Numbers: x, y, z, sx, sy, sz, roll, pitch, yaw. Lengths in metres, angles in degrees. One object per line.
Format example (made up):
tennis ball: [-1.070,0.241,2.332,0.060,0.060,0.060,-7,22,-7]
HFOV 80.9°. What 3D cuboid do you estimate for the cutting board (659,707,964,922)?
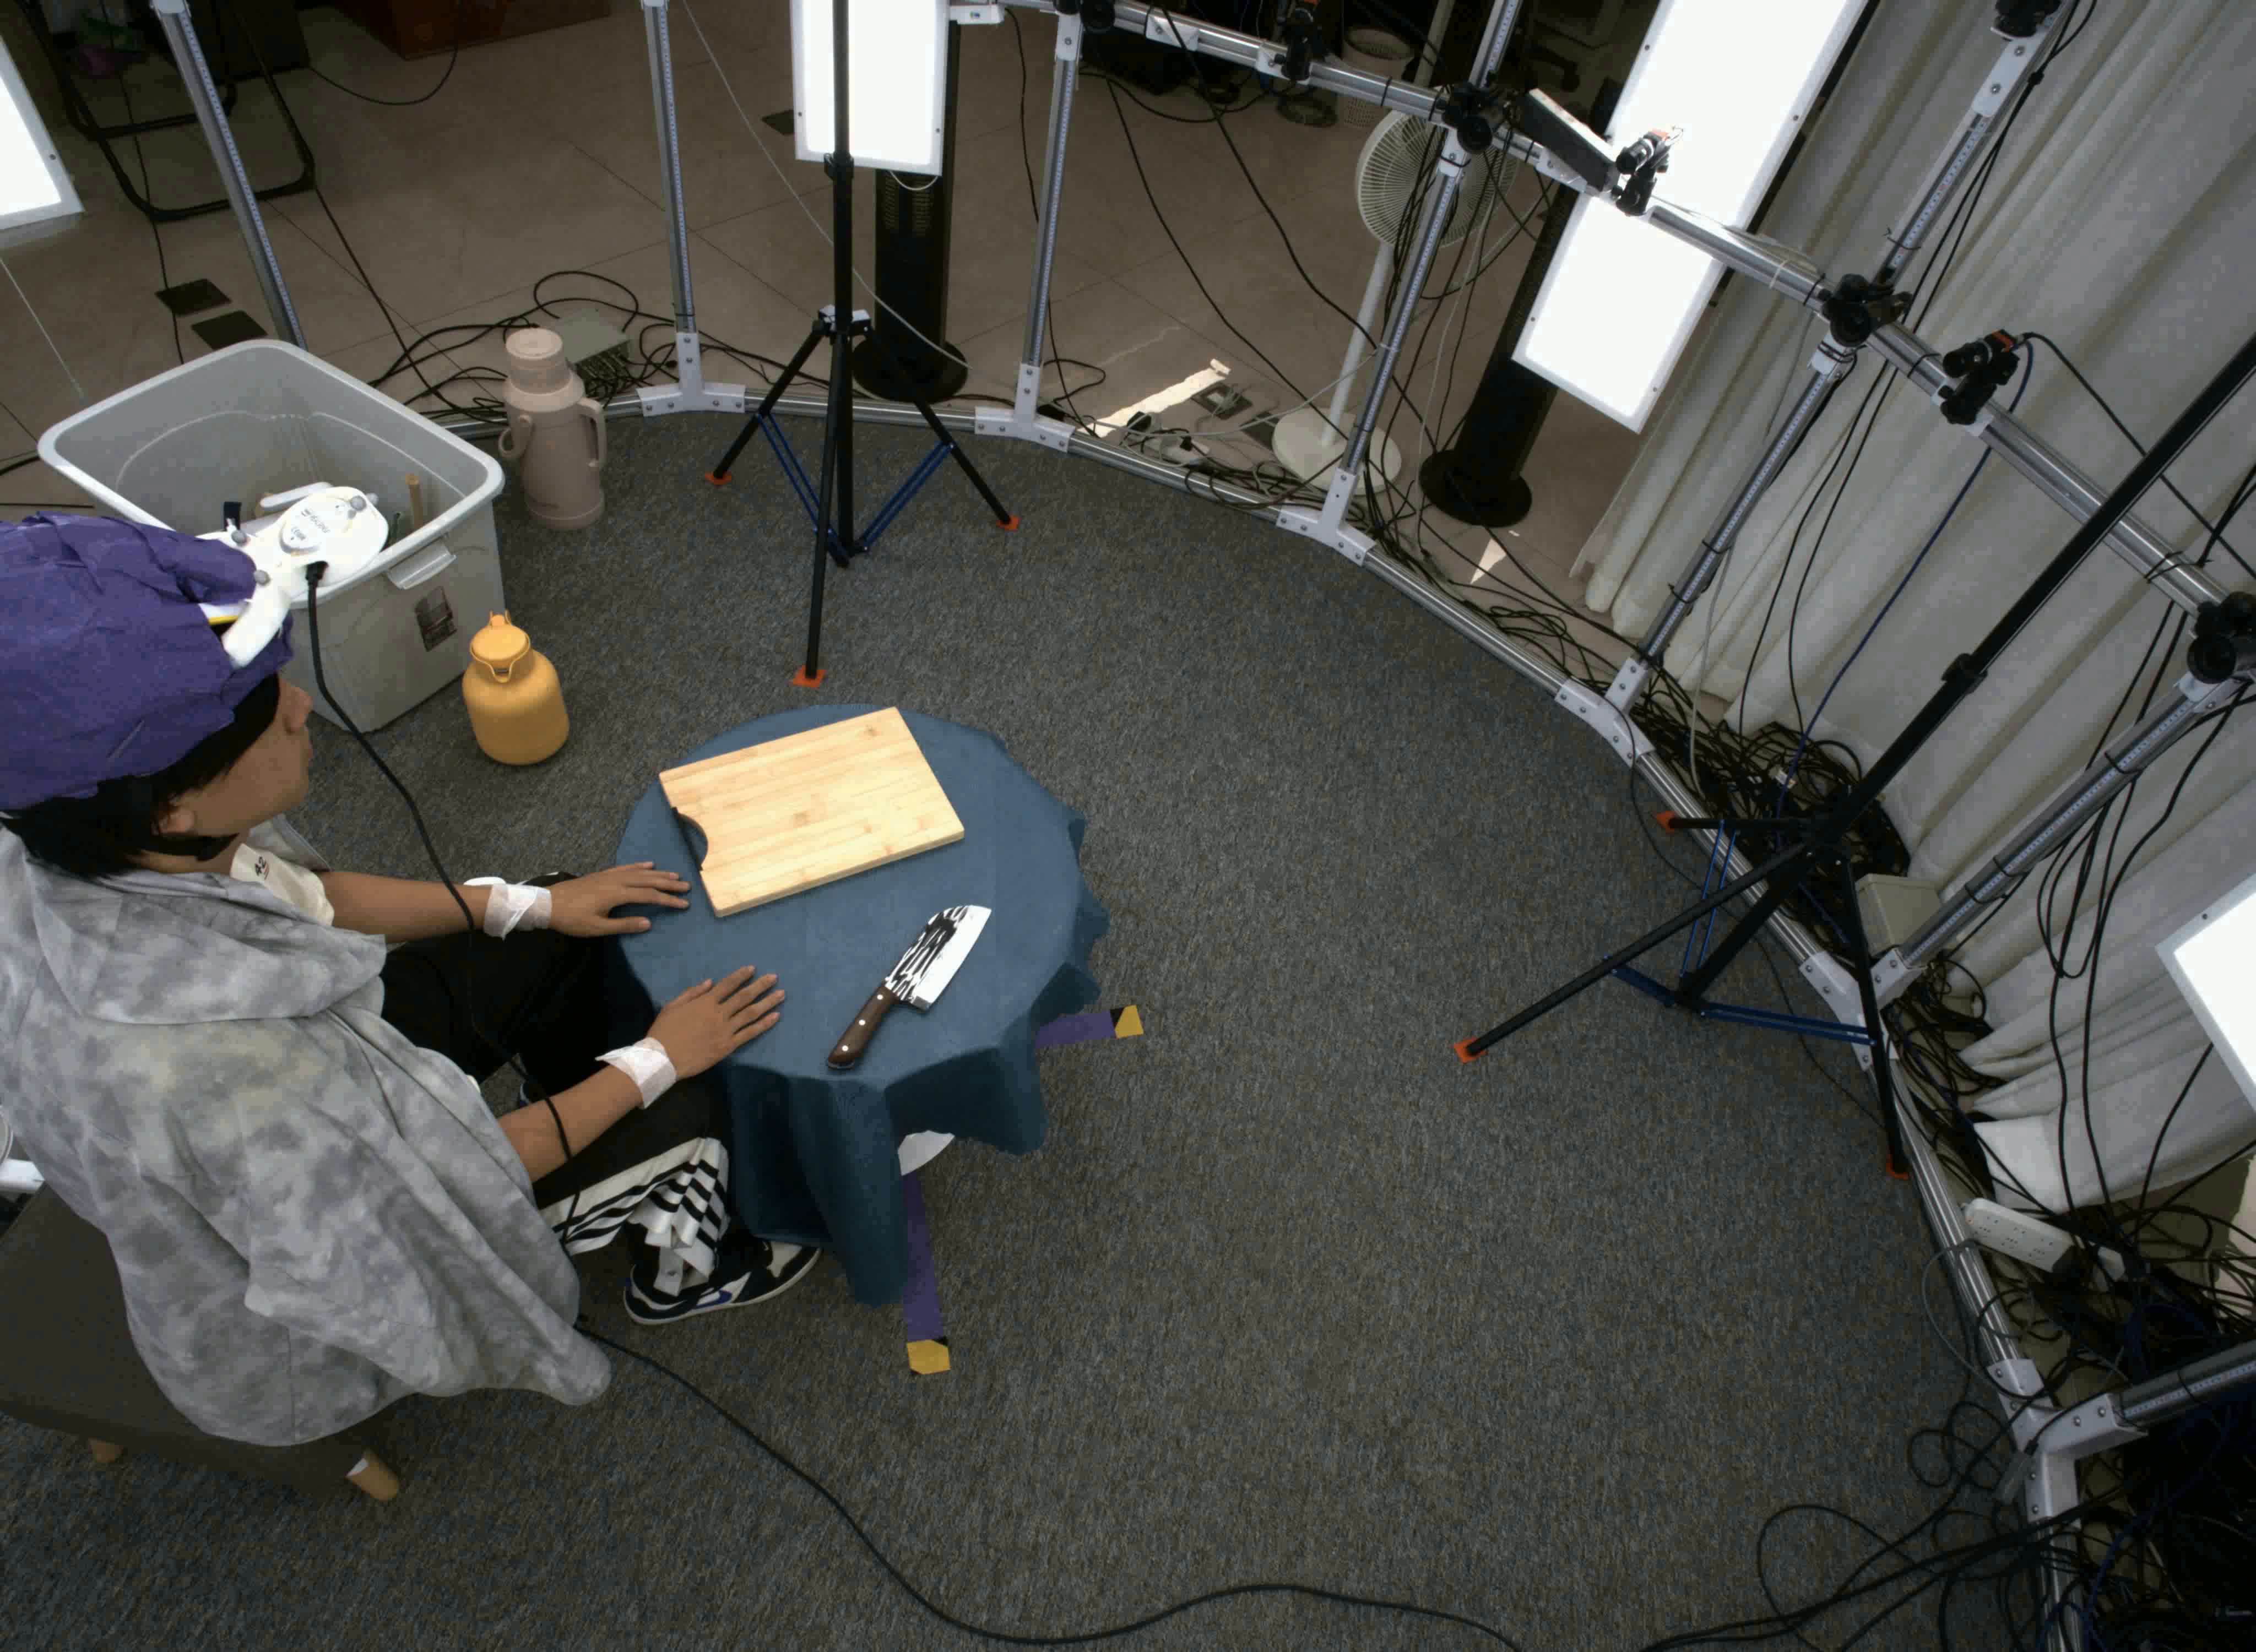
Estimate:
cutting board: [-0.421,-0.025,1.735,0.350,0.024,0.244,-20,61,-26]

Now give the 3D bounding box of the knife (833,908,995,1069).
knife: [-0.259,0.194,1.610,0.067,0.024,0.298,29,50,7]
